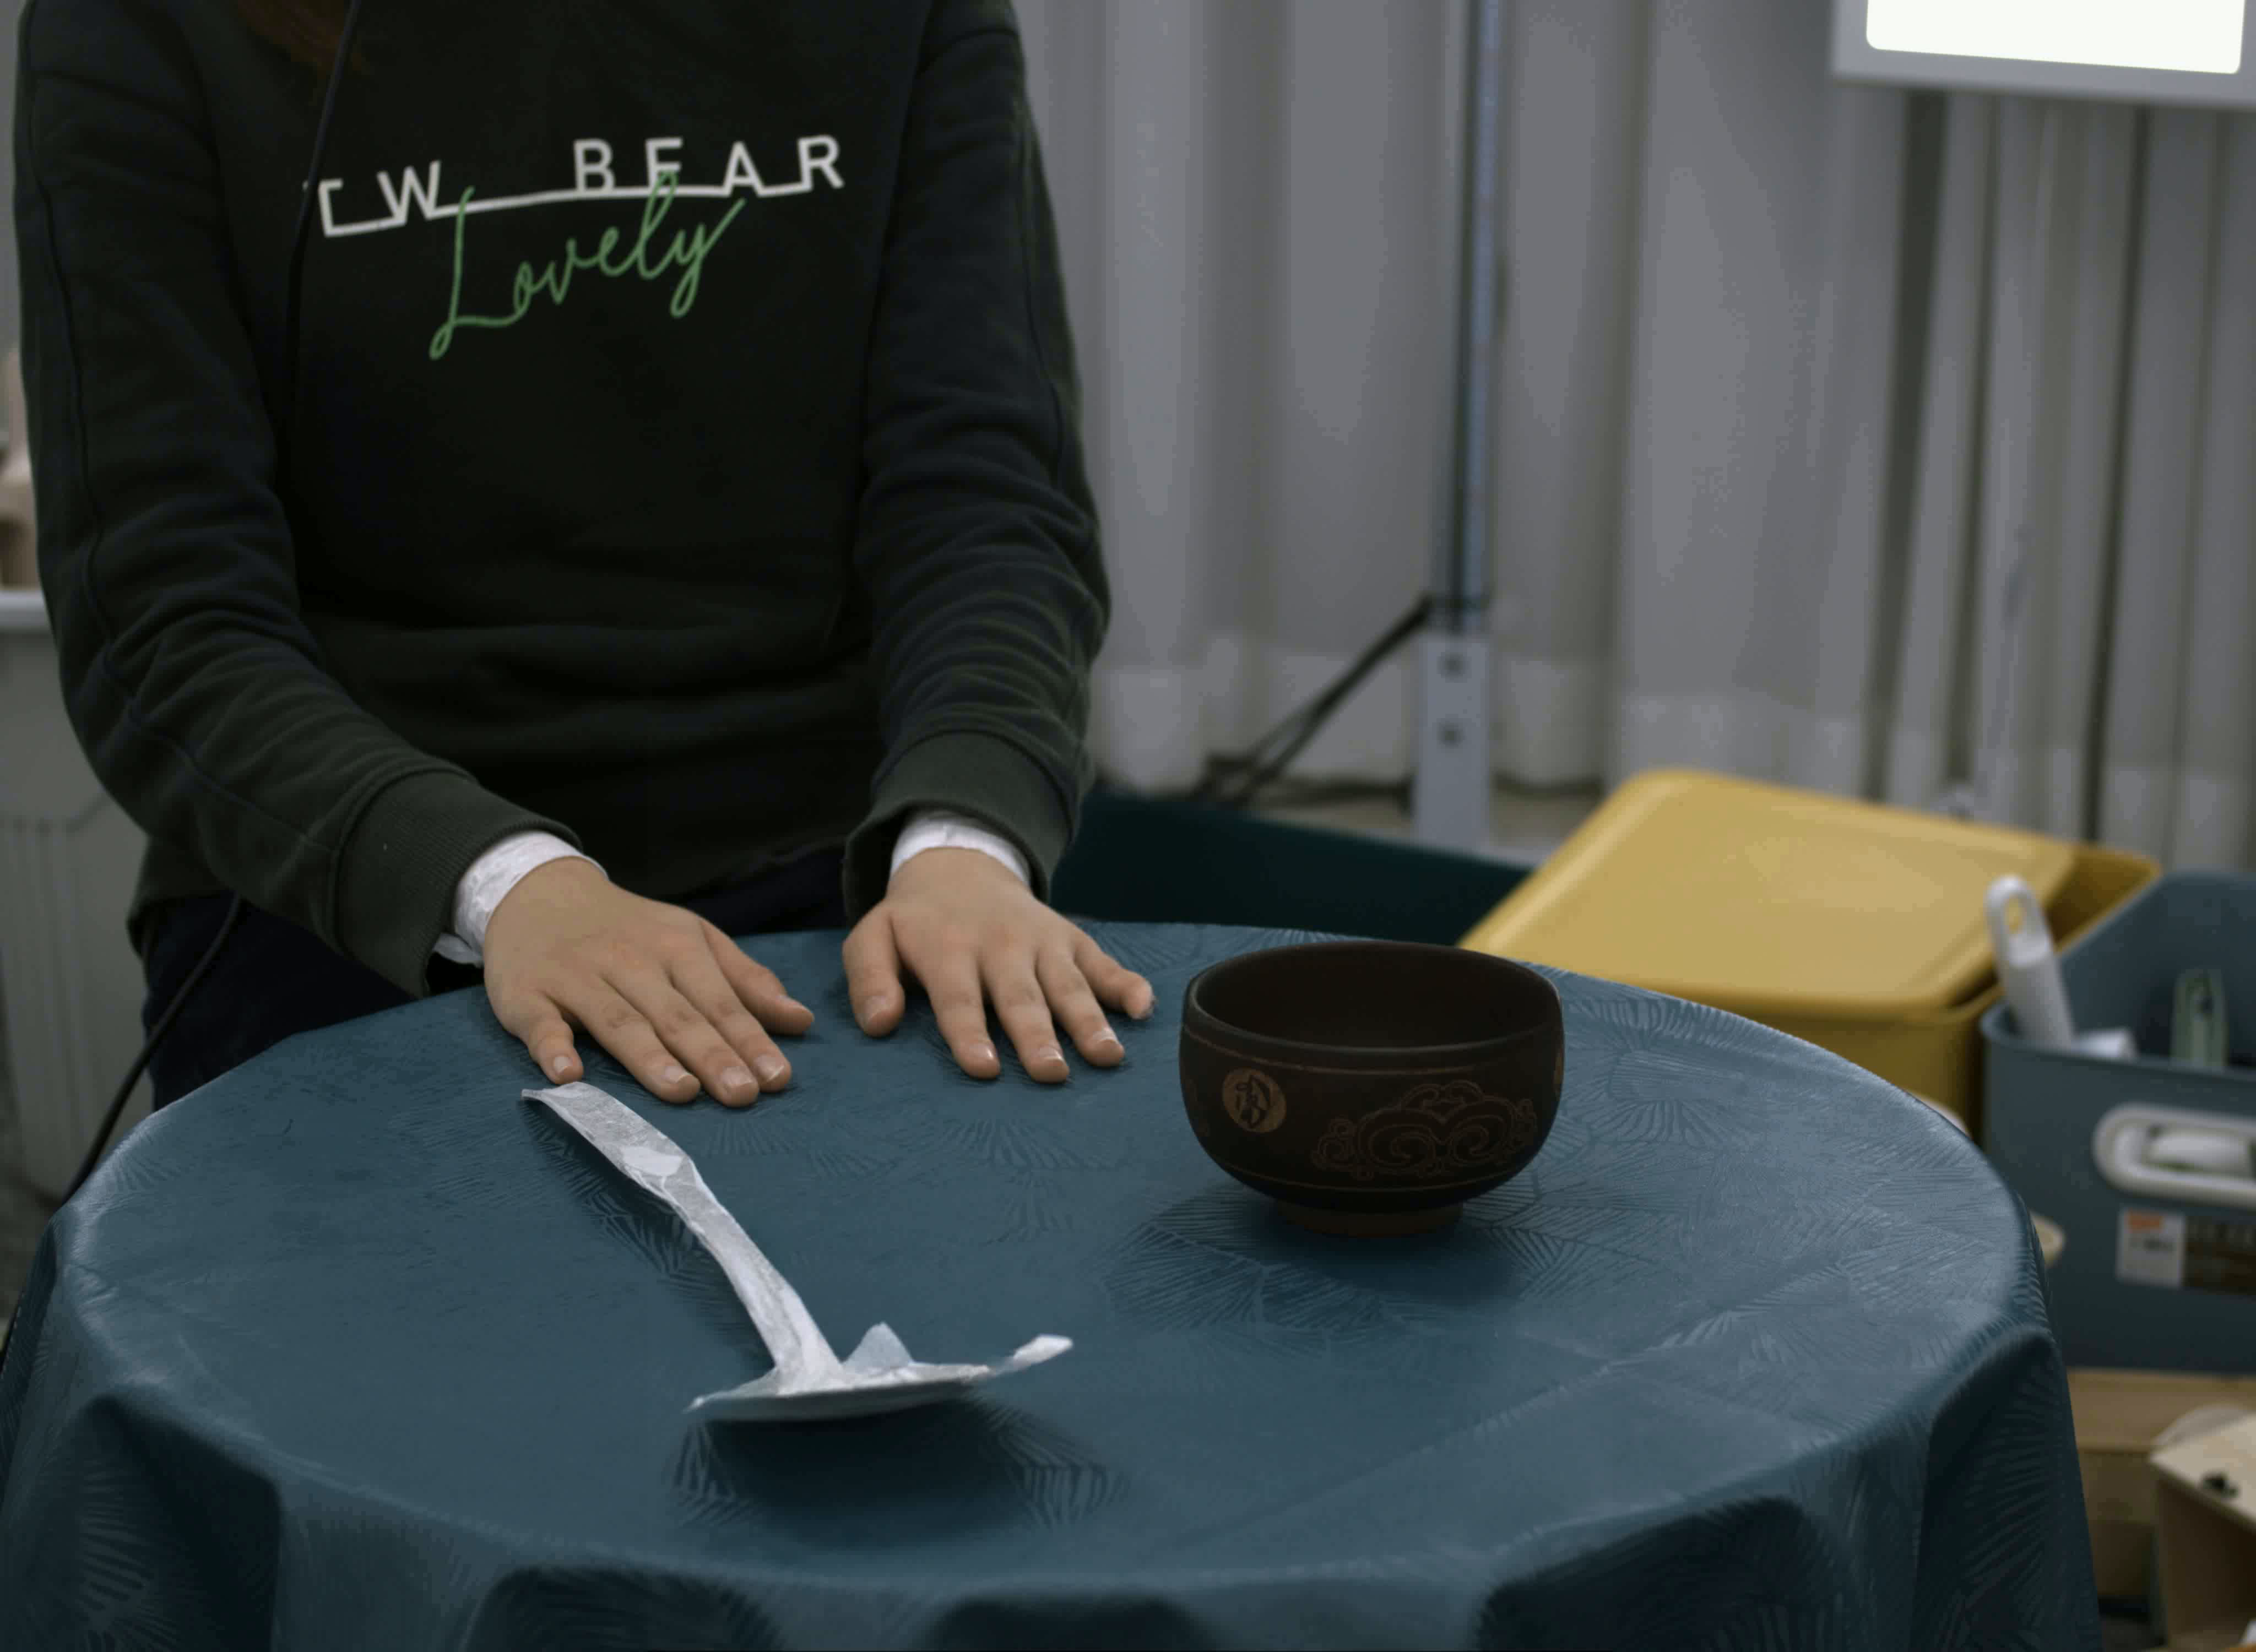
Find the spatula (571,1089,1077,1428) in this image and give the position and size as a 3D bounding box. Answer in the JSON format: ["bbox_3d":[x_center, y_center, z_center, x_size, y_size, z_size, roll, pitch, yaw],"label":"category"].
[{"bbox_3d":[-0.114,0.117,1.537,0.099,0.045,0.361,-7,18,-19],"label":"spatula"}]

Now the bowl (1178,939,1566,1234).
[{"bbox_3d":[0.074,0.083,1.604,0.117,0.070,0.117,2,15,0],"label":"bowl"}]
